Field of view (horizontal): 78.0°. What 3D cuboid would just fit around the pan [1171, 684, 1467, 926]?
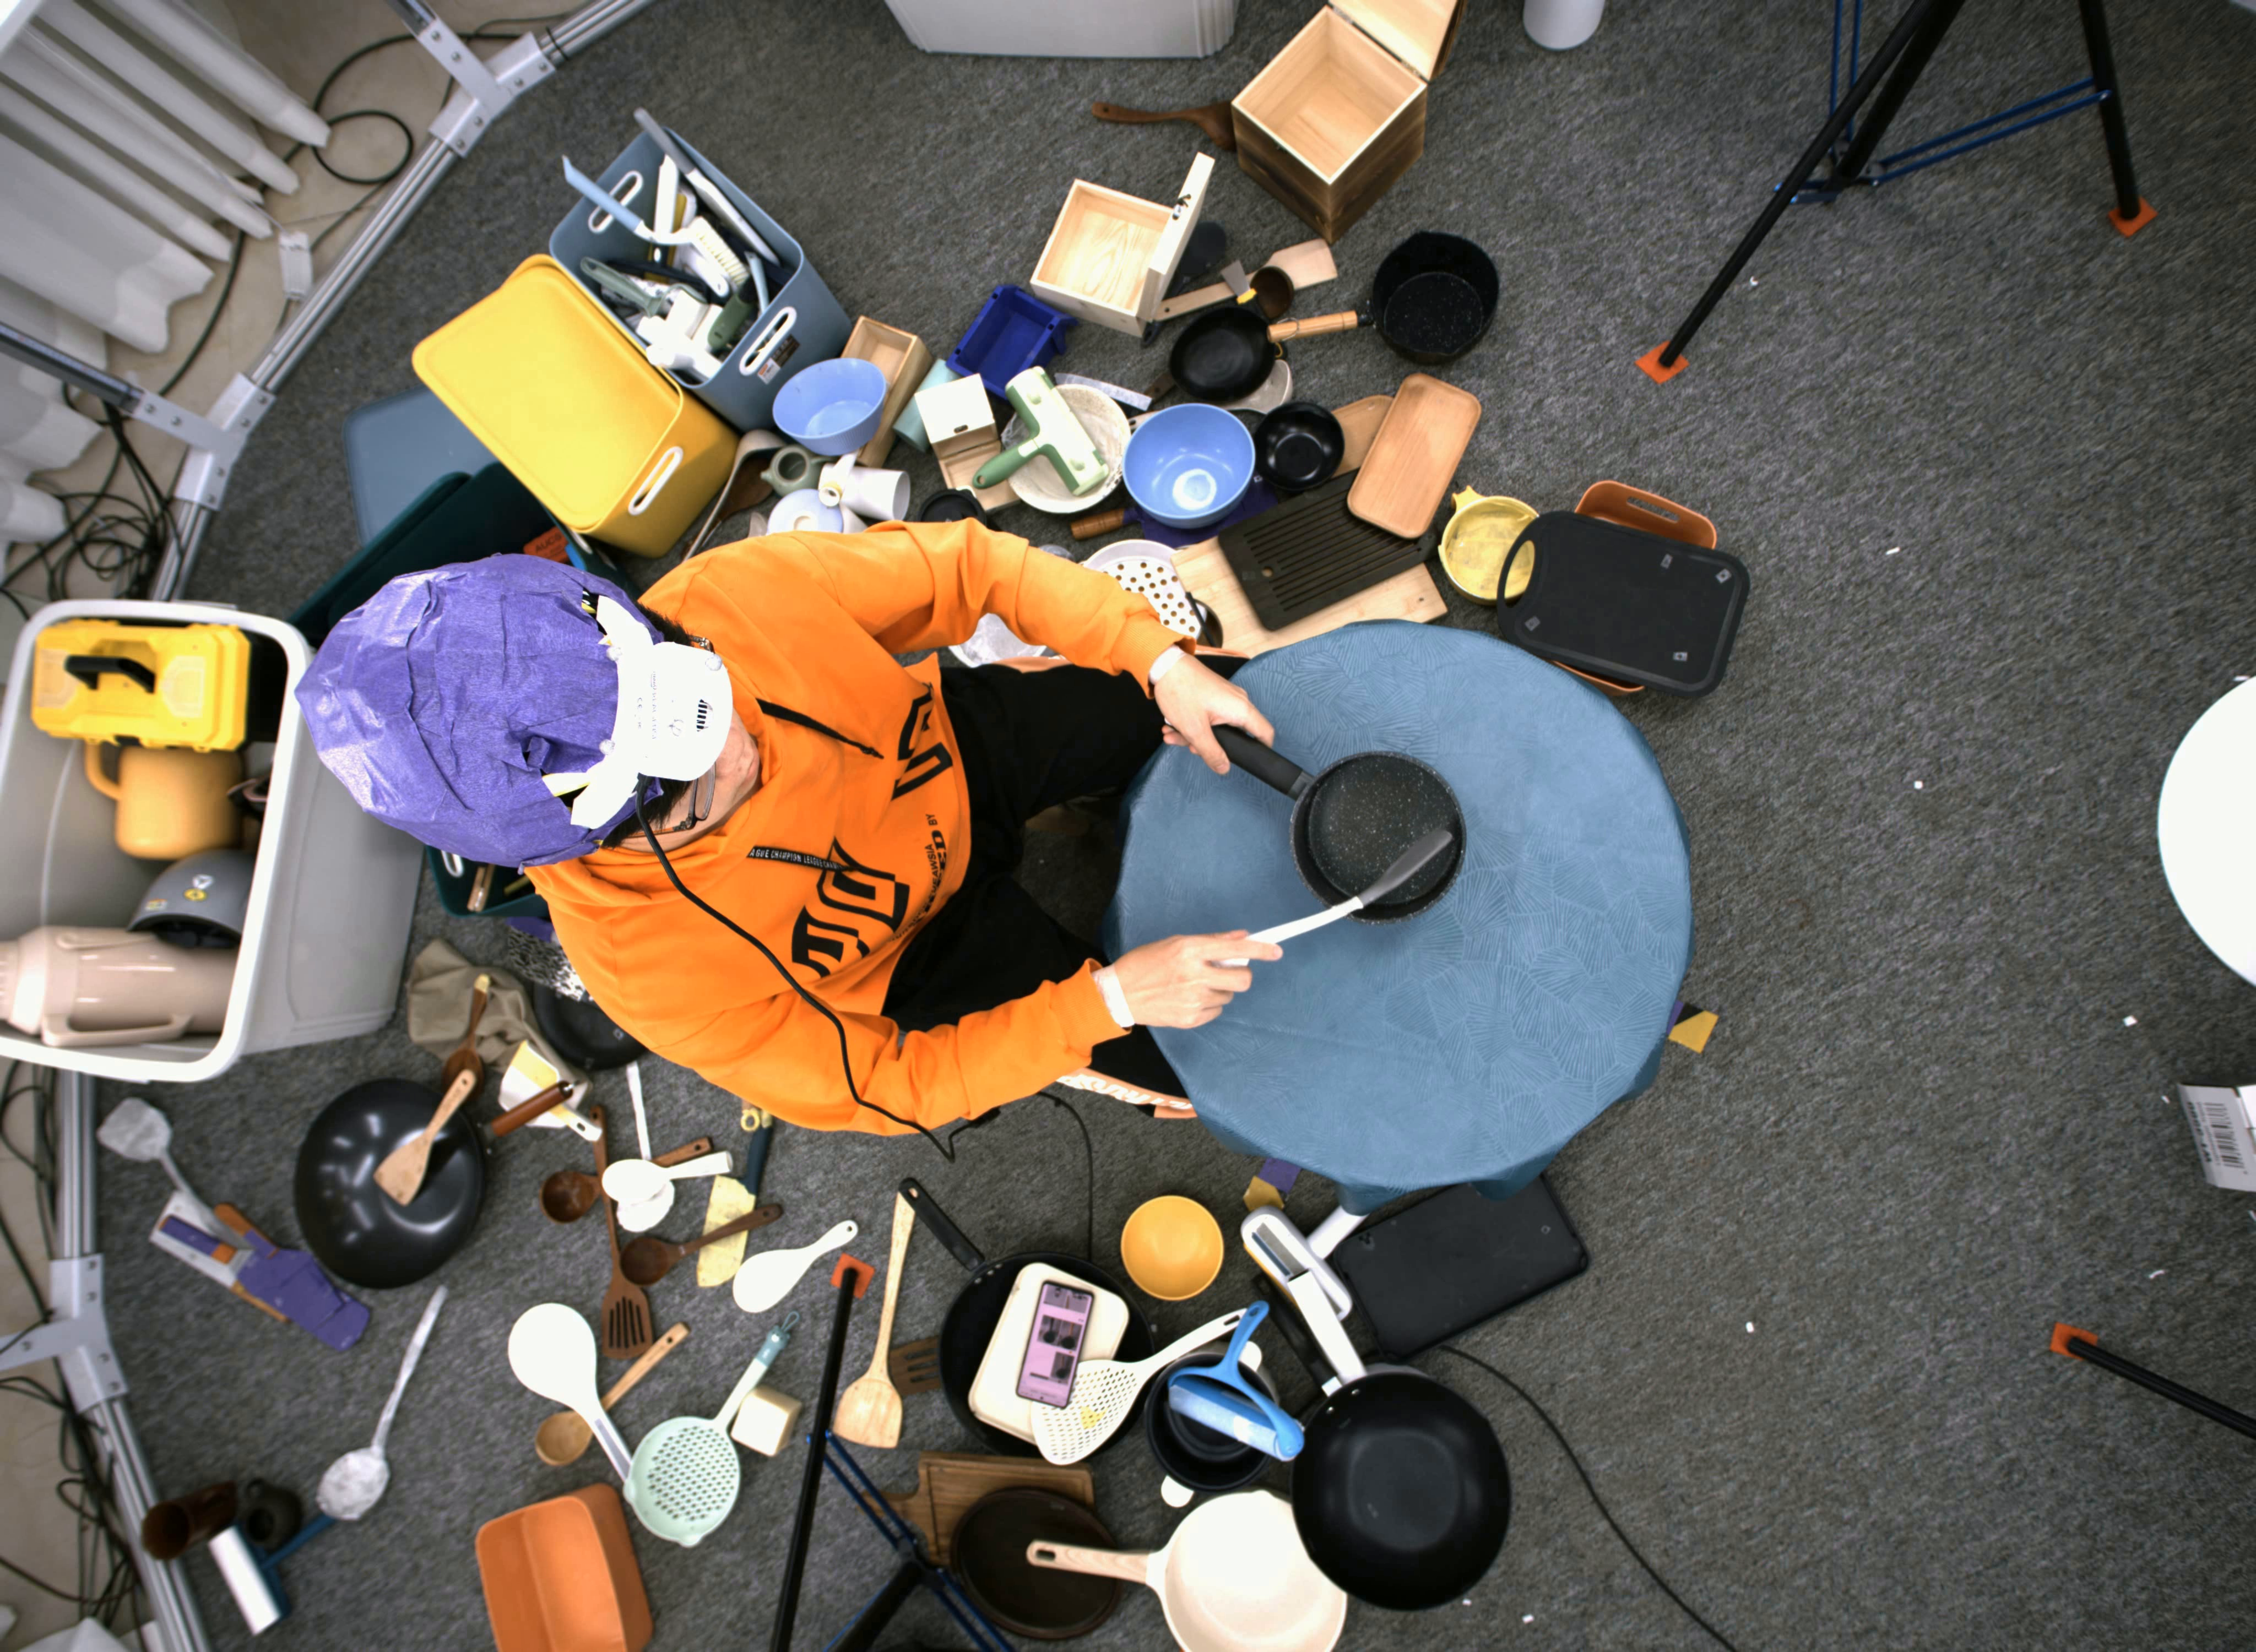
[{"bbox_3d":[0.187,-0.038,1.386,0.328,0.085,0.174,35,106,6],"label":"pan"}]

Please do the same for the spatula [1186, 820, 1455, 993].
[{"bbox_3d":[0.187,0.076,1.327,0.289,0.058,0.032,-30,99,6],"label":"spatula"}]
